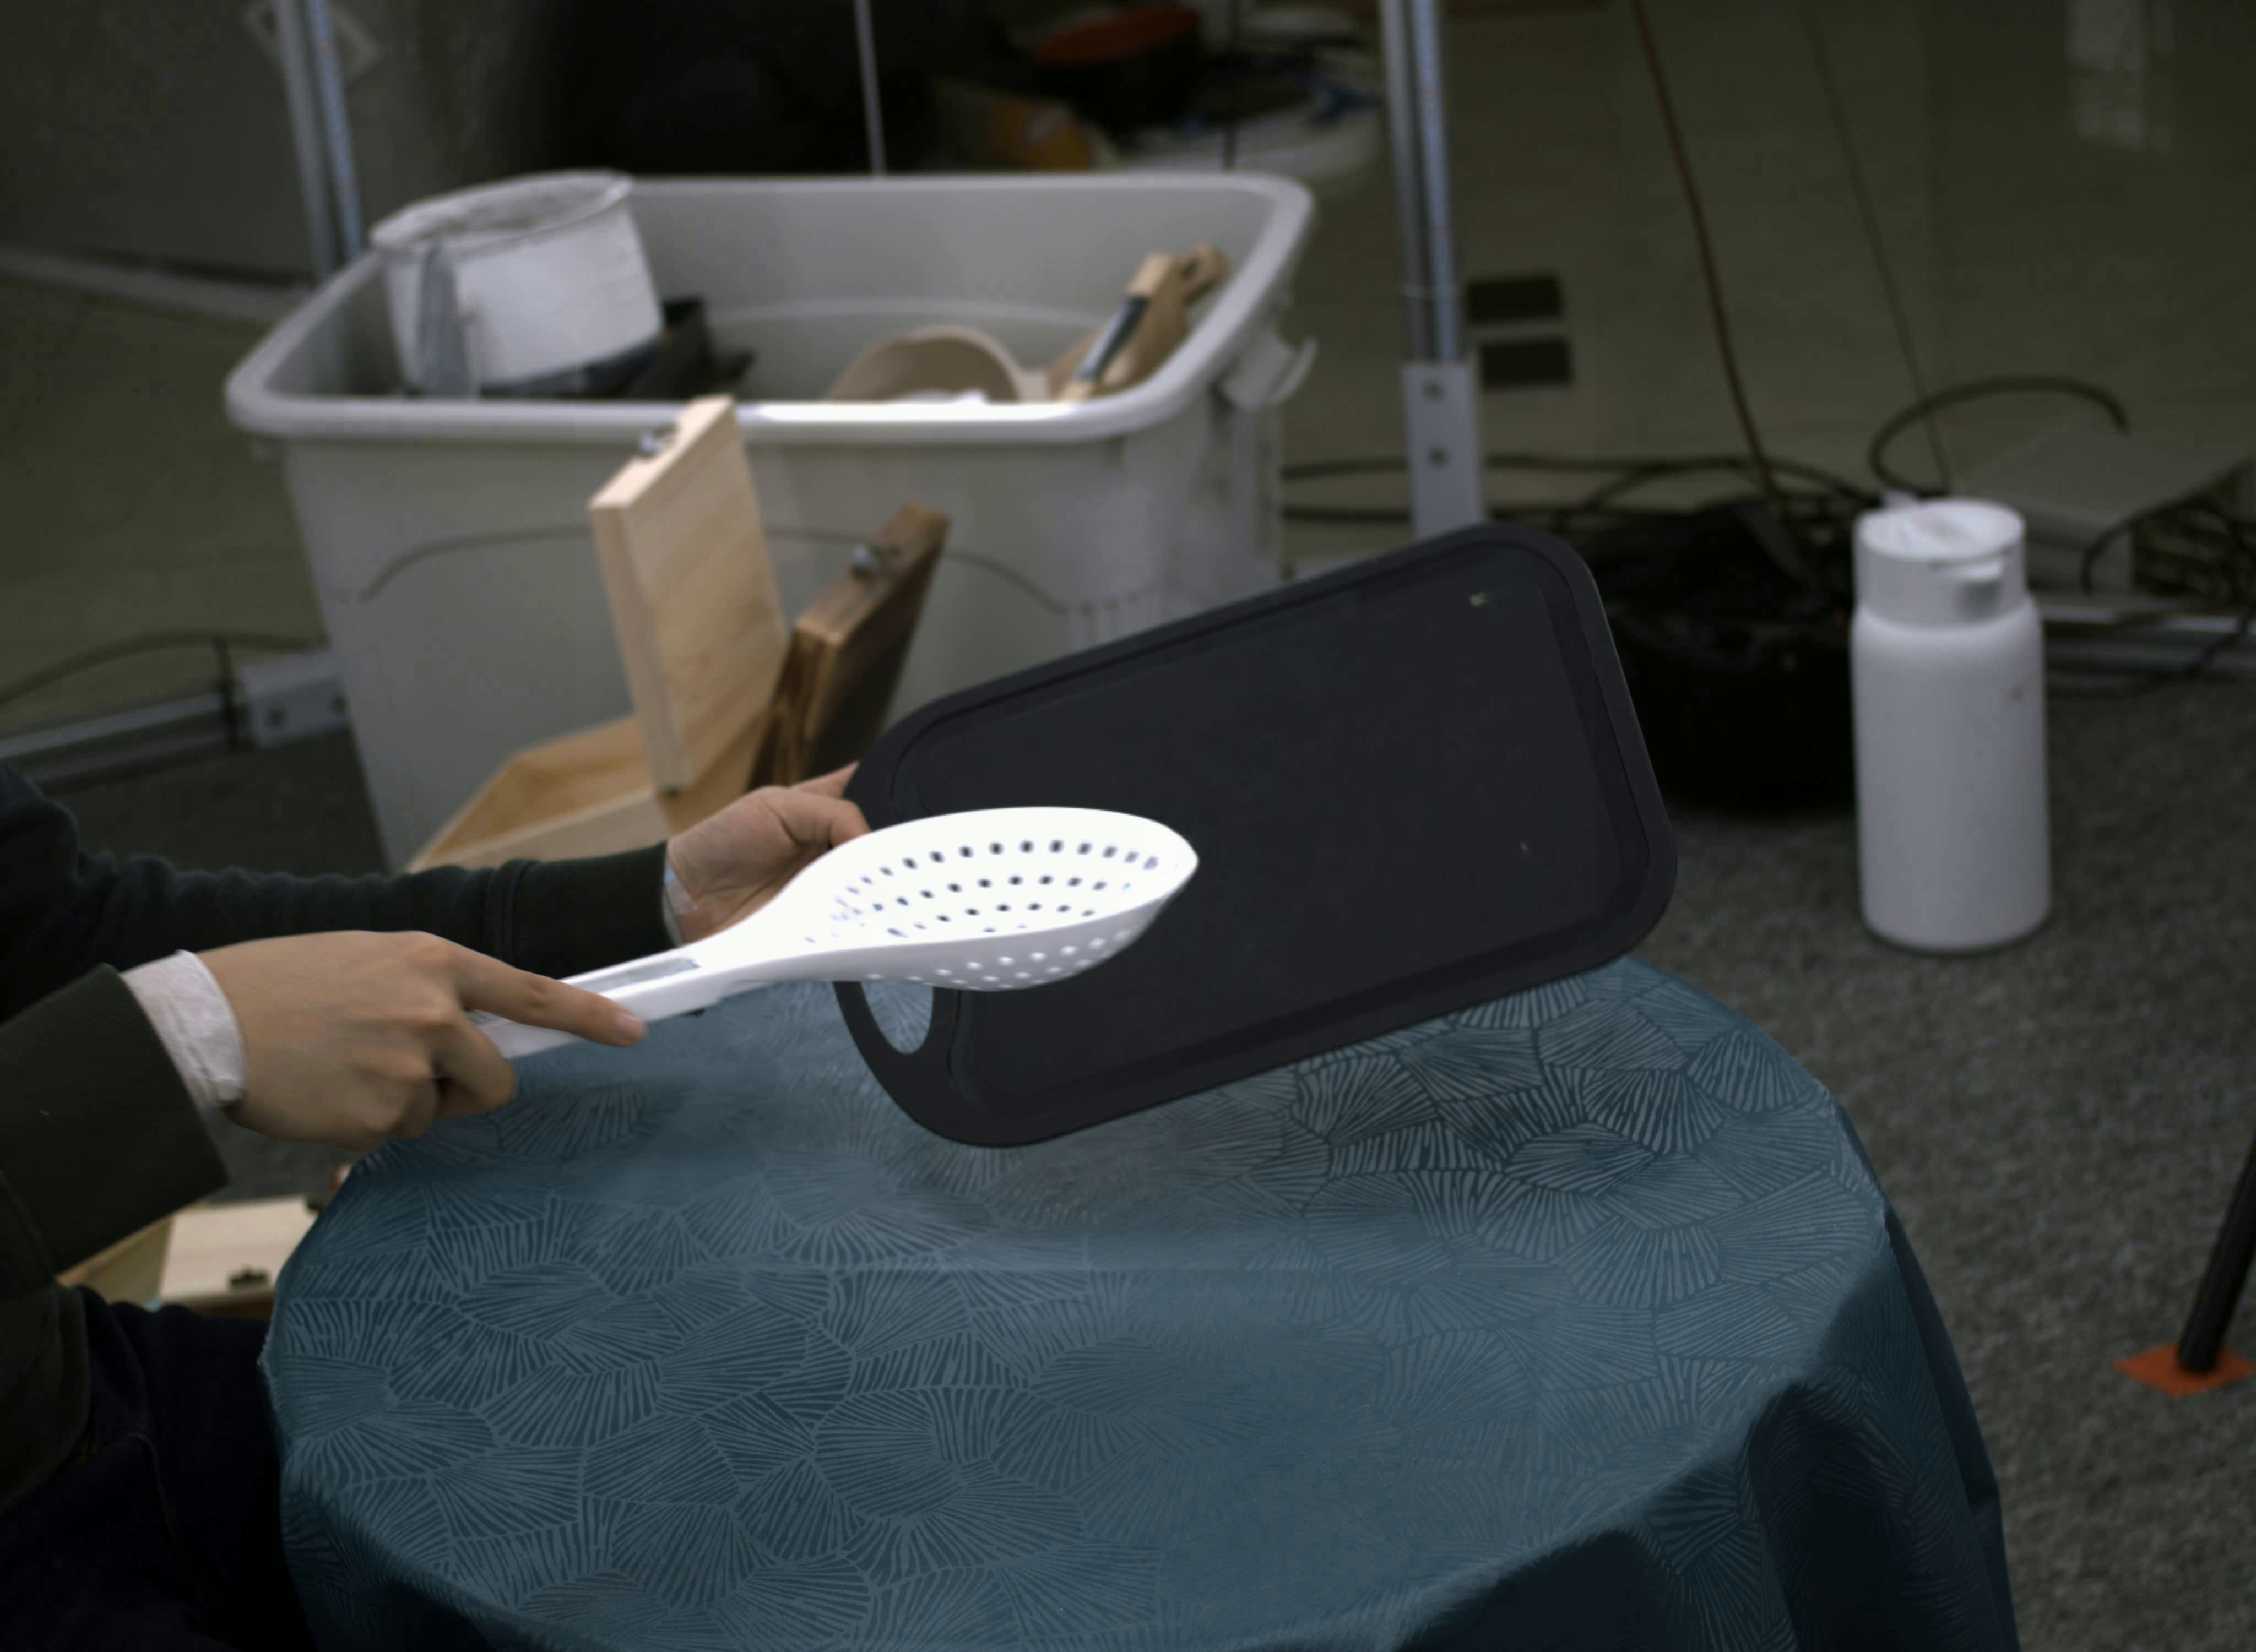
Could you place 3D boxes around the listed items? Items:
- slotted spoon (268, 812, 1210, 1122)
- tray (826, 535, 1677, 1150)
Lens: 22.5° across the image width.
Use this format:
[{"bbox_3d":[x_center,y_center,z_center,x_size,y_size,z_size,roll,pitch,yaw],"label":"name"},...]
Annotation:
[{"bbox_3d":[-0.128,0.047,1.913,0.348,0.046,0.135,-10,17,-32],"label":"slotted spoon"},{"bbox_3d":[0.040,0.007,2.161,0.325,0.010,0.208,-17,57,7],"label":"tray"}]
